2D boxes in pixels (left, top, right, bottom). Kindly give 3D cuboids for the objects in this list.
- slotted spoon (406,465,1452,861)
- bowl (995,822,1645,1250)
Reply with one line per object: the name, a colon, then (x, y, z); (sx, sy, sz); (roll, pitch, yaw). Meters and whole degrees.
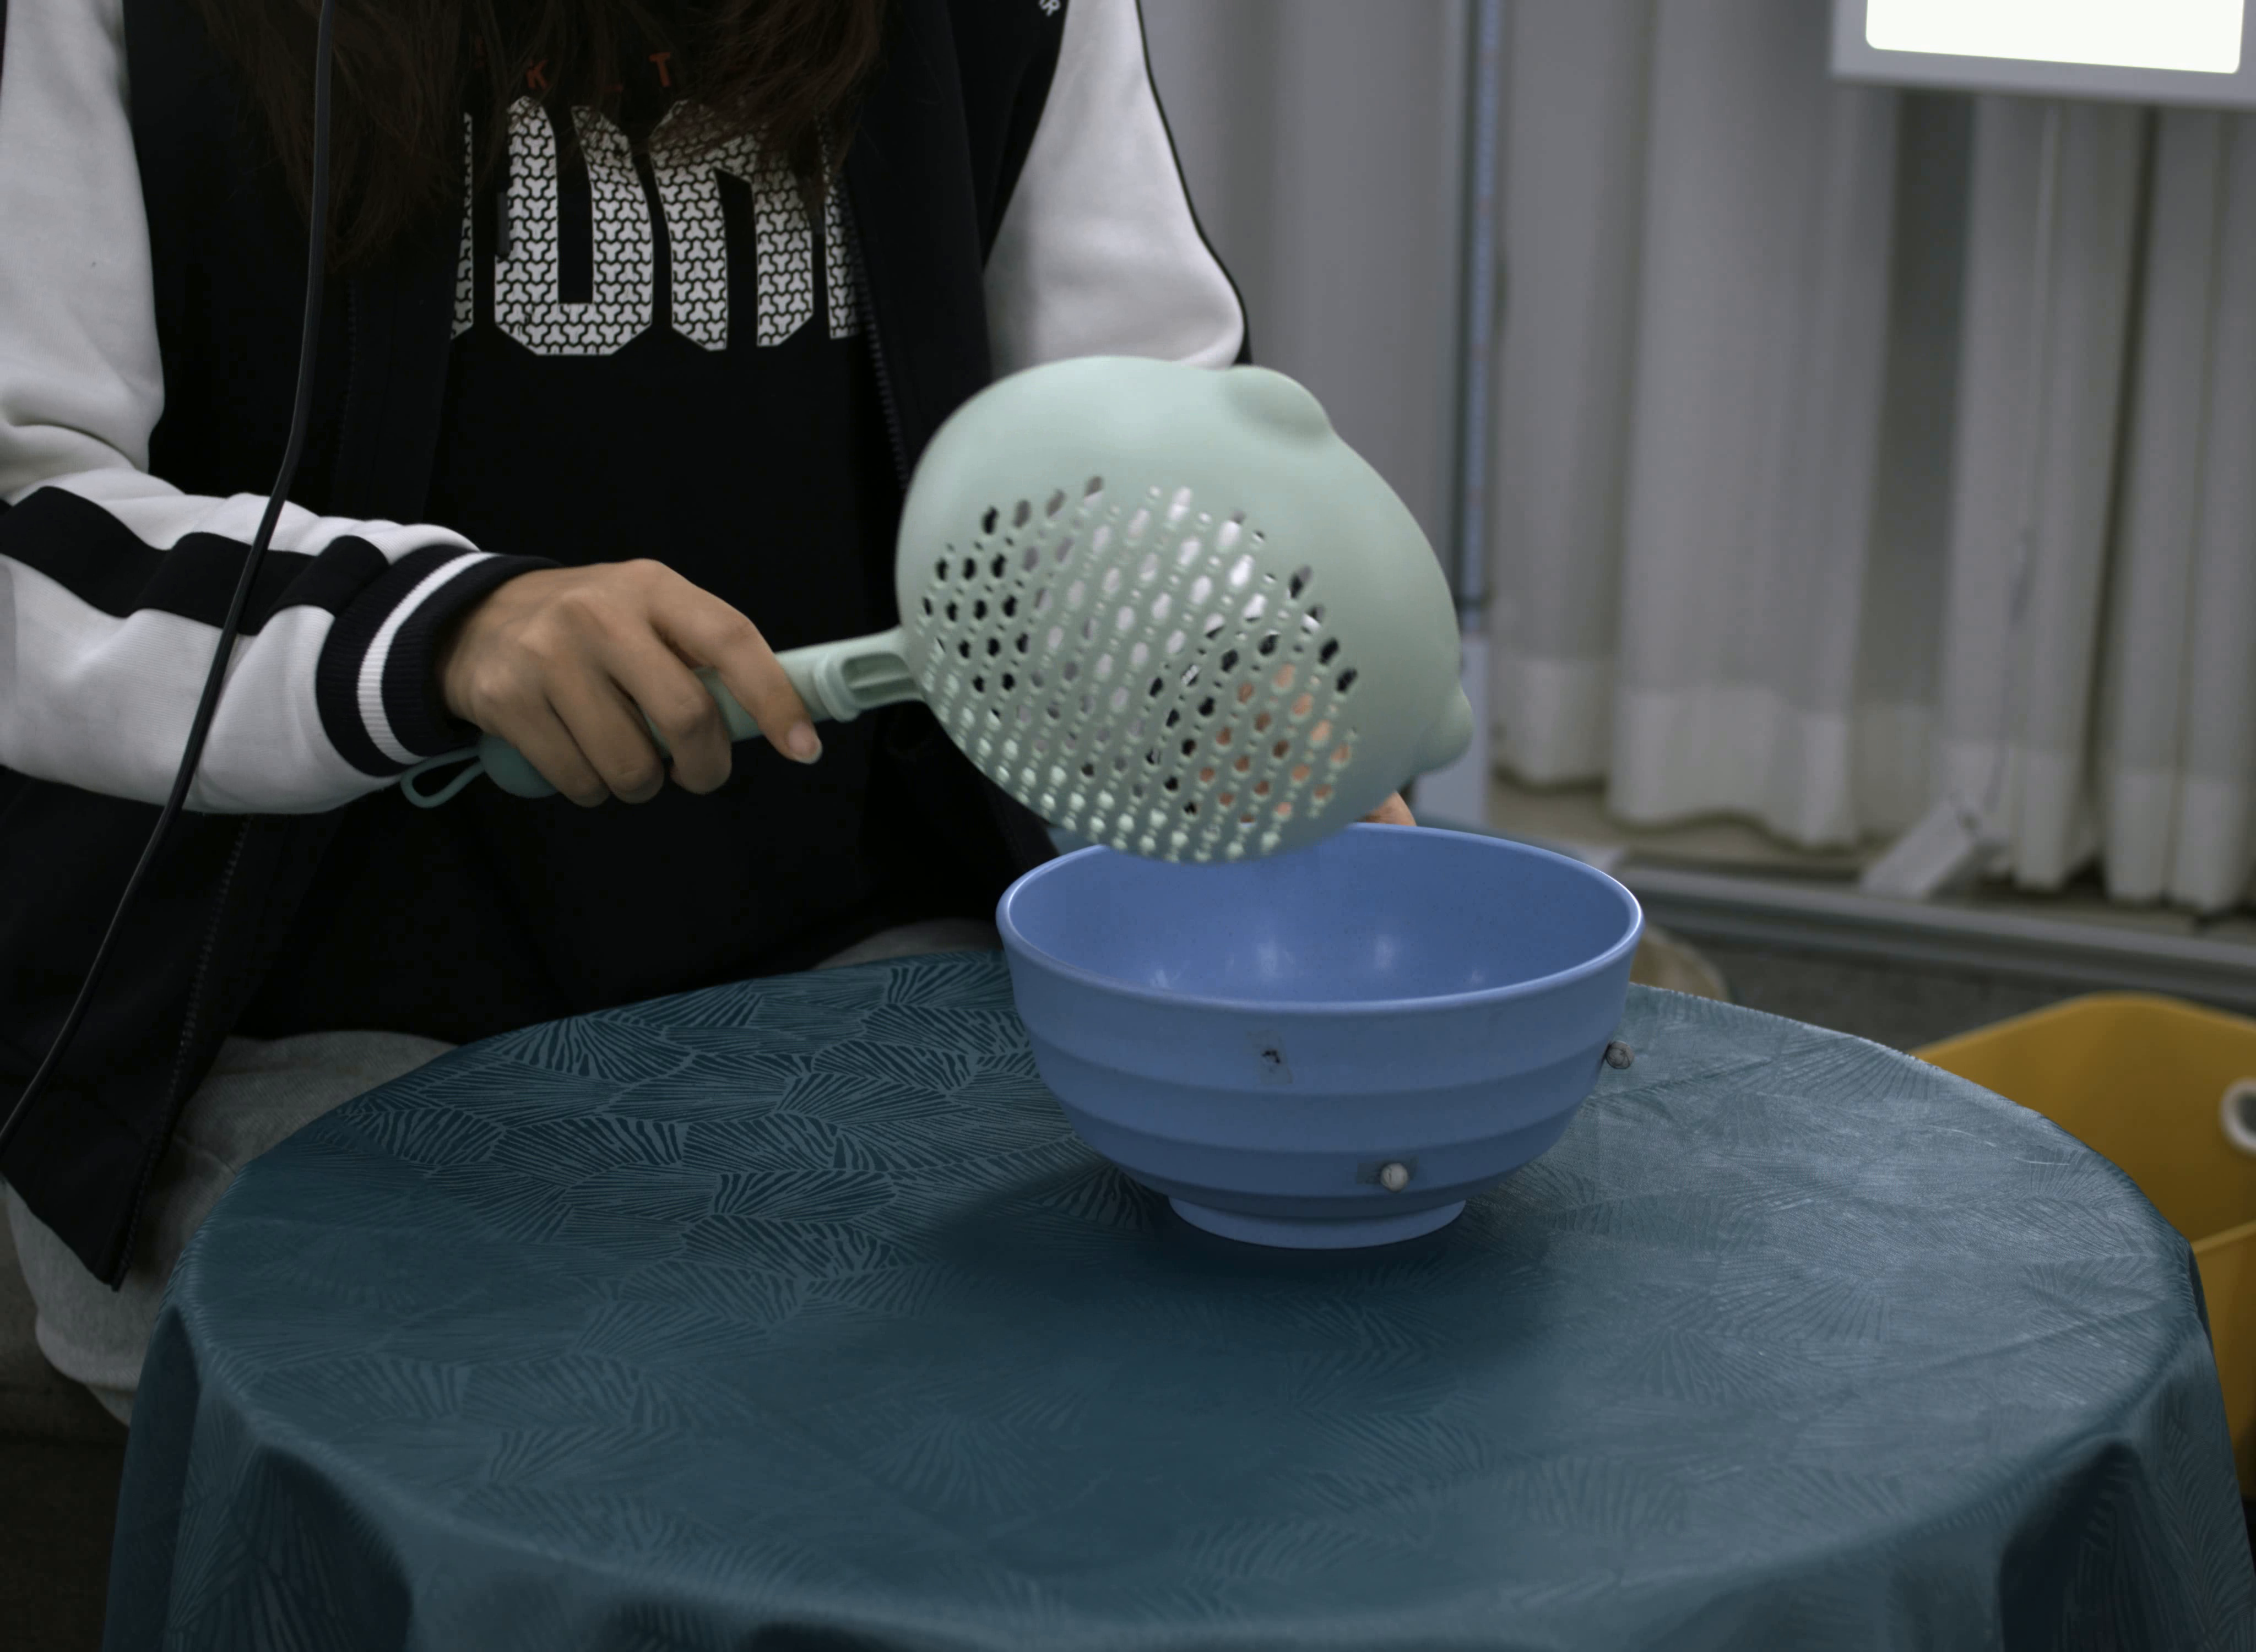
slotted spoon: (-0.078, -0.033, 1.554); (0.355, 0.075, 0.171); (-1, -30, 39)
bowl: (0.058, 0.069, 1.601); (0.196, 0.096, 0.195); (0, 16, 1)
